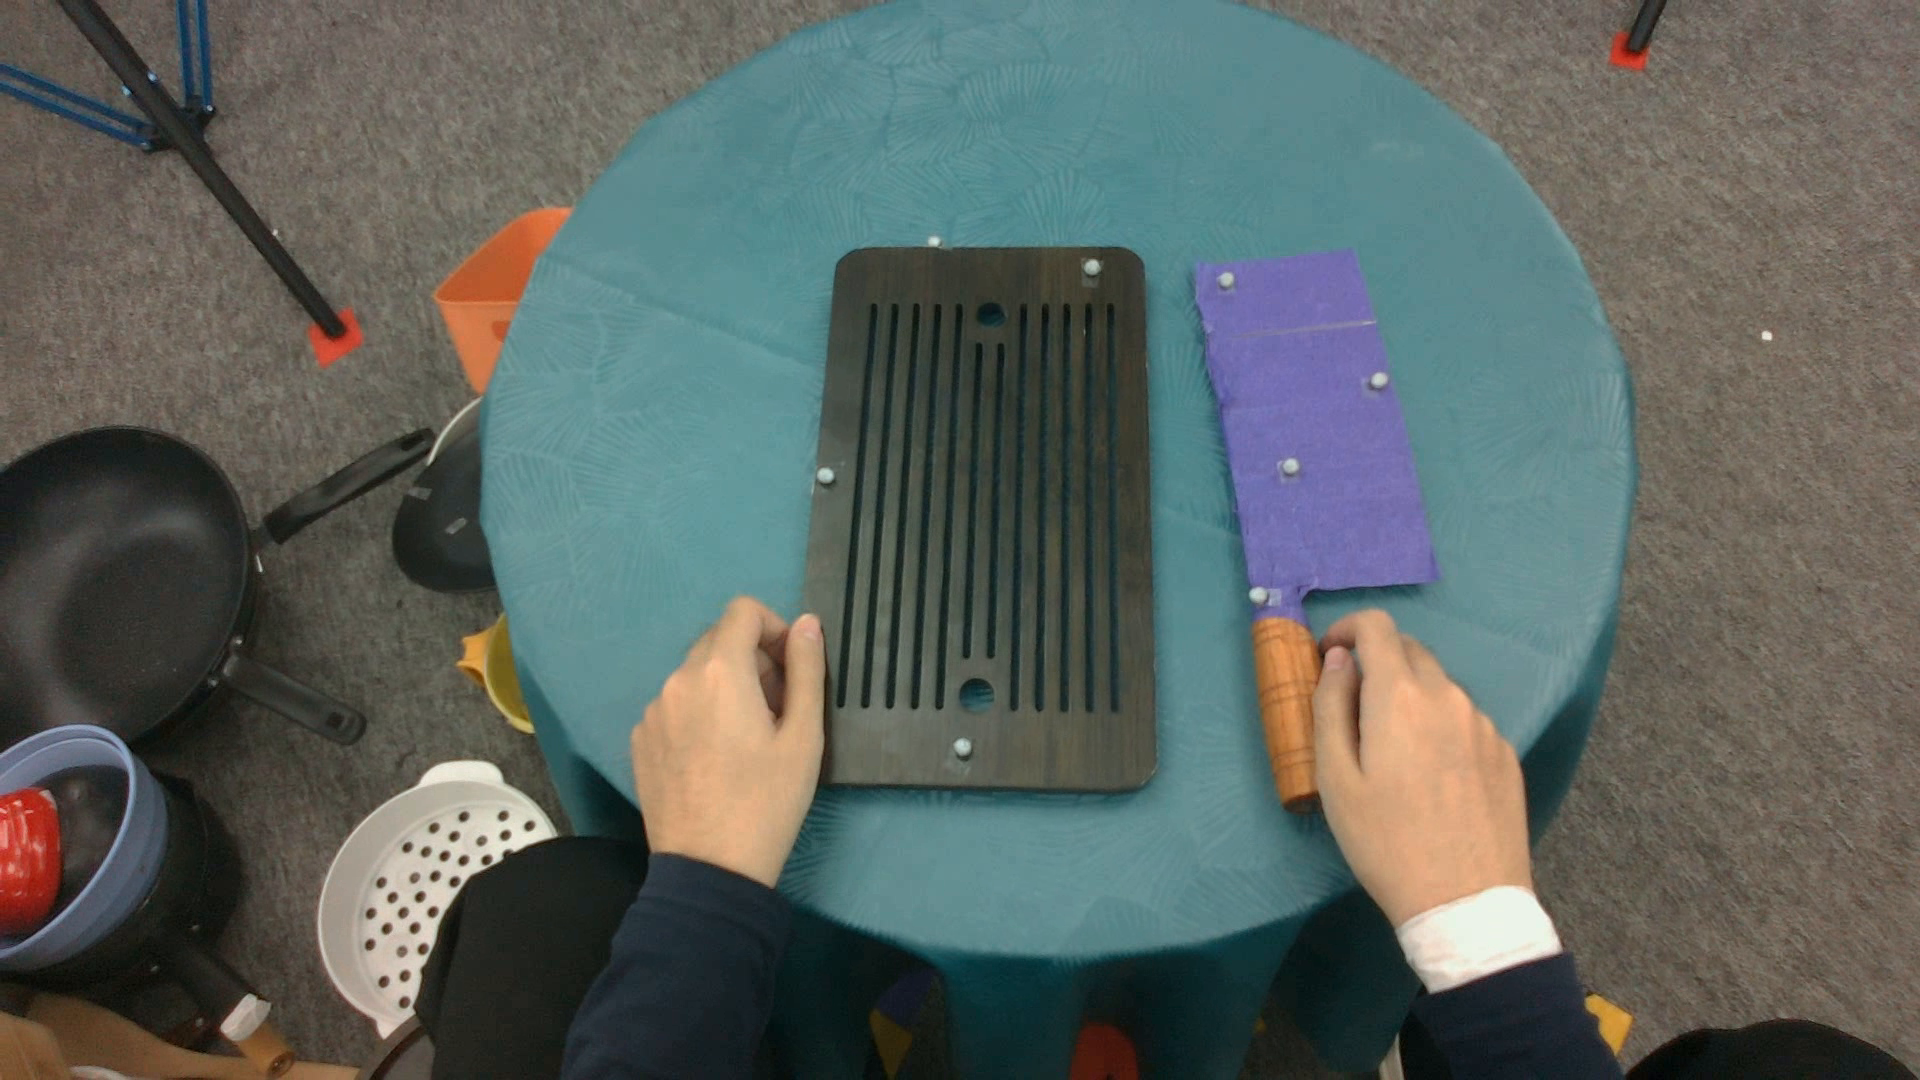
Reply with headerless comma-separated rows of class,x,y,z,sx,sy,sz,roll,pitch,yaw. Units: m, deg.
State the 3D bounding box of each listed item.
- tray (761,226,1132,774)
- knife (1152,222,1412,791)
tray,-0.003,-0.031,0.691,0.170,0.018,0.307,0,64,3
knife,0.169,-0.035,0.680,0.104,0.032,0.316,-6,63,0
